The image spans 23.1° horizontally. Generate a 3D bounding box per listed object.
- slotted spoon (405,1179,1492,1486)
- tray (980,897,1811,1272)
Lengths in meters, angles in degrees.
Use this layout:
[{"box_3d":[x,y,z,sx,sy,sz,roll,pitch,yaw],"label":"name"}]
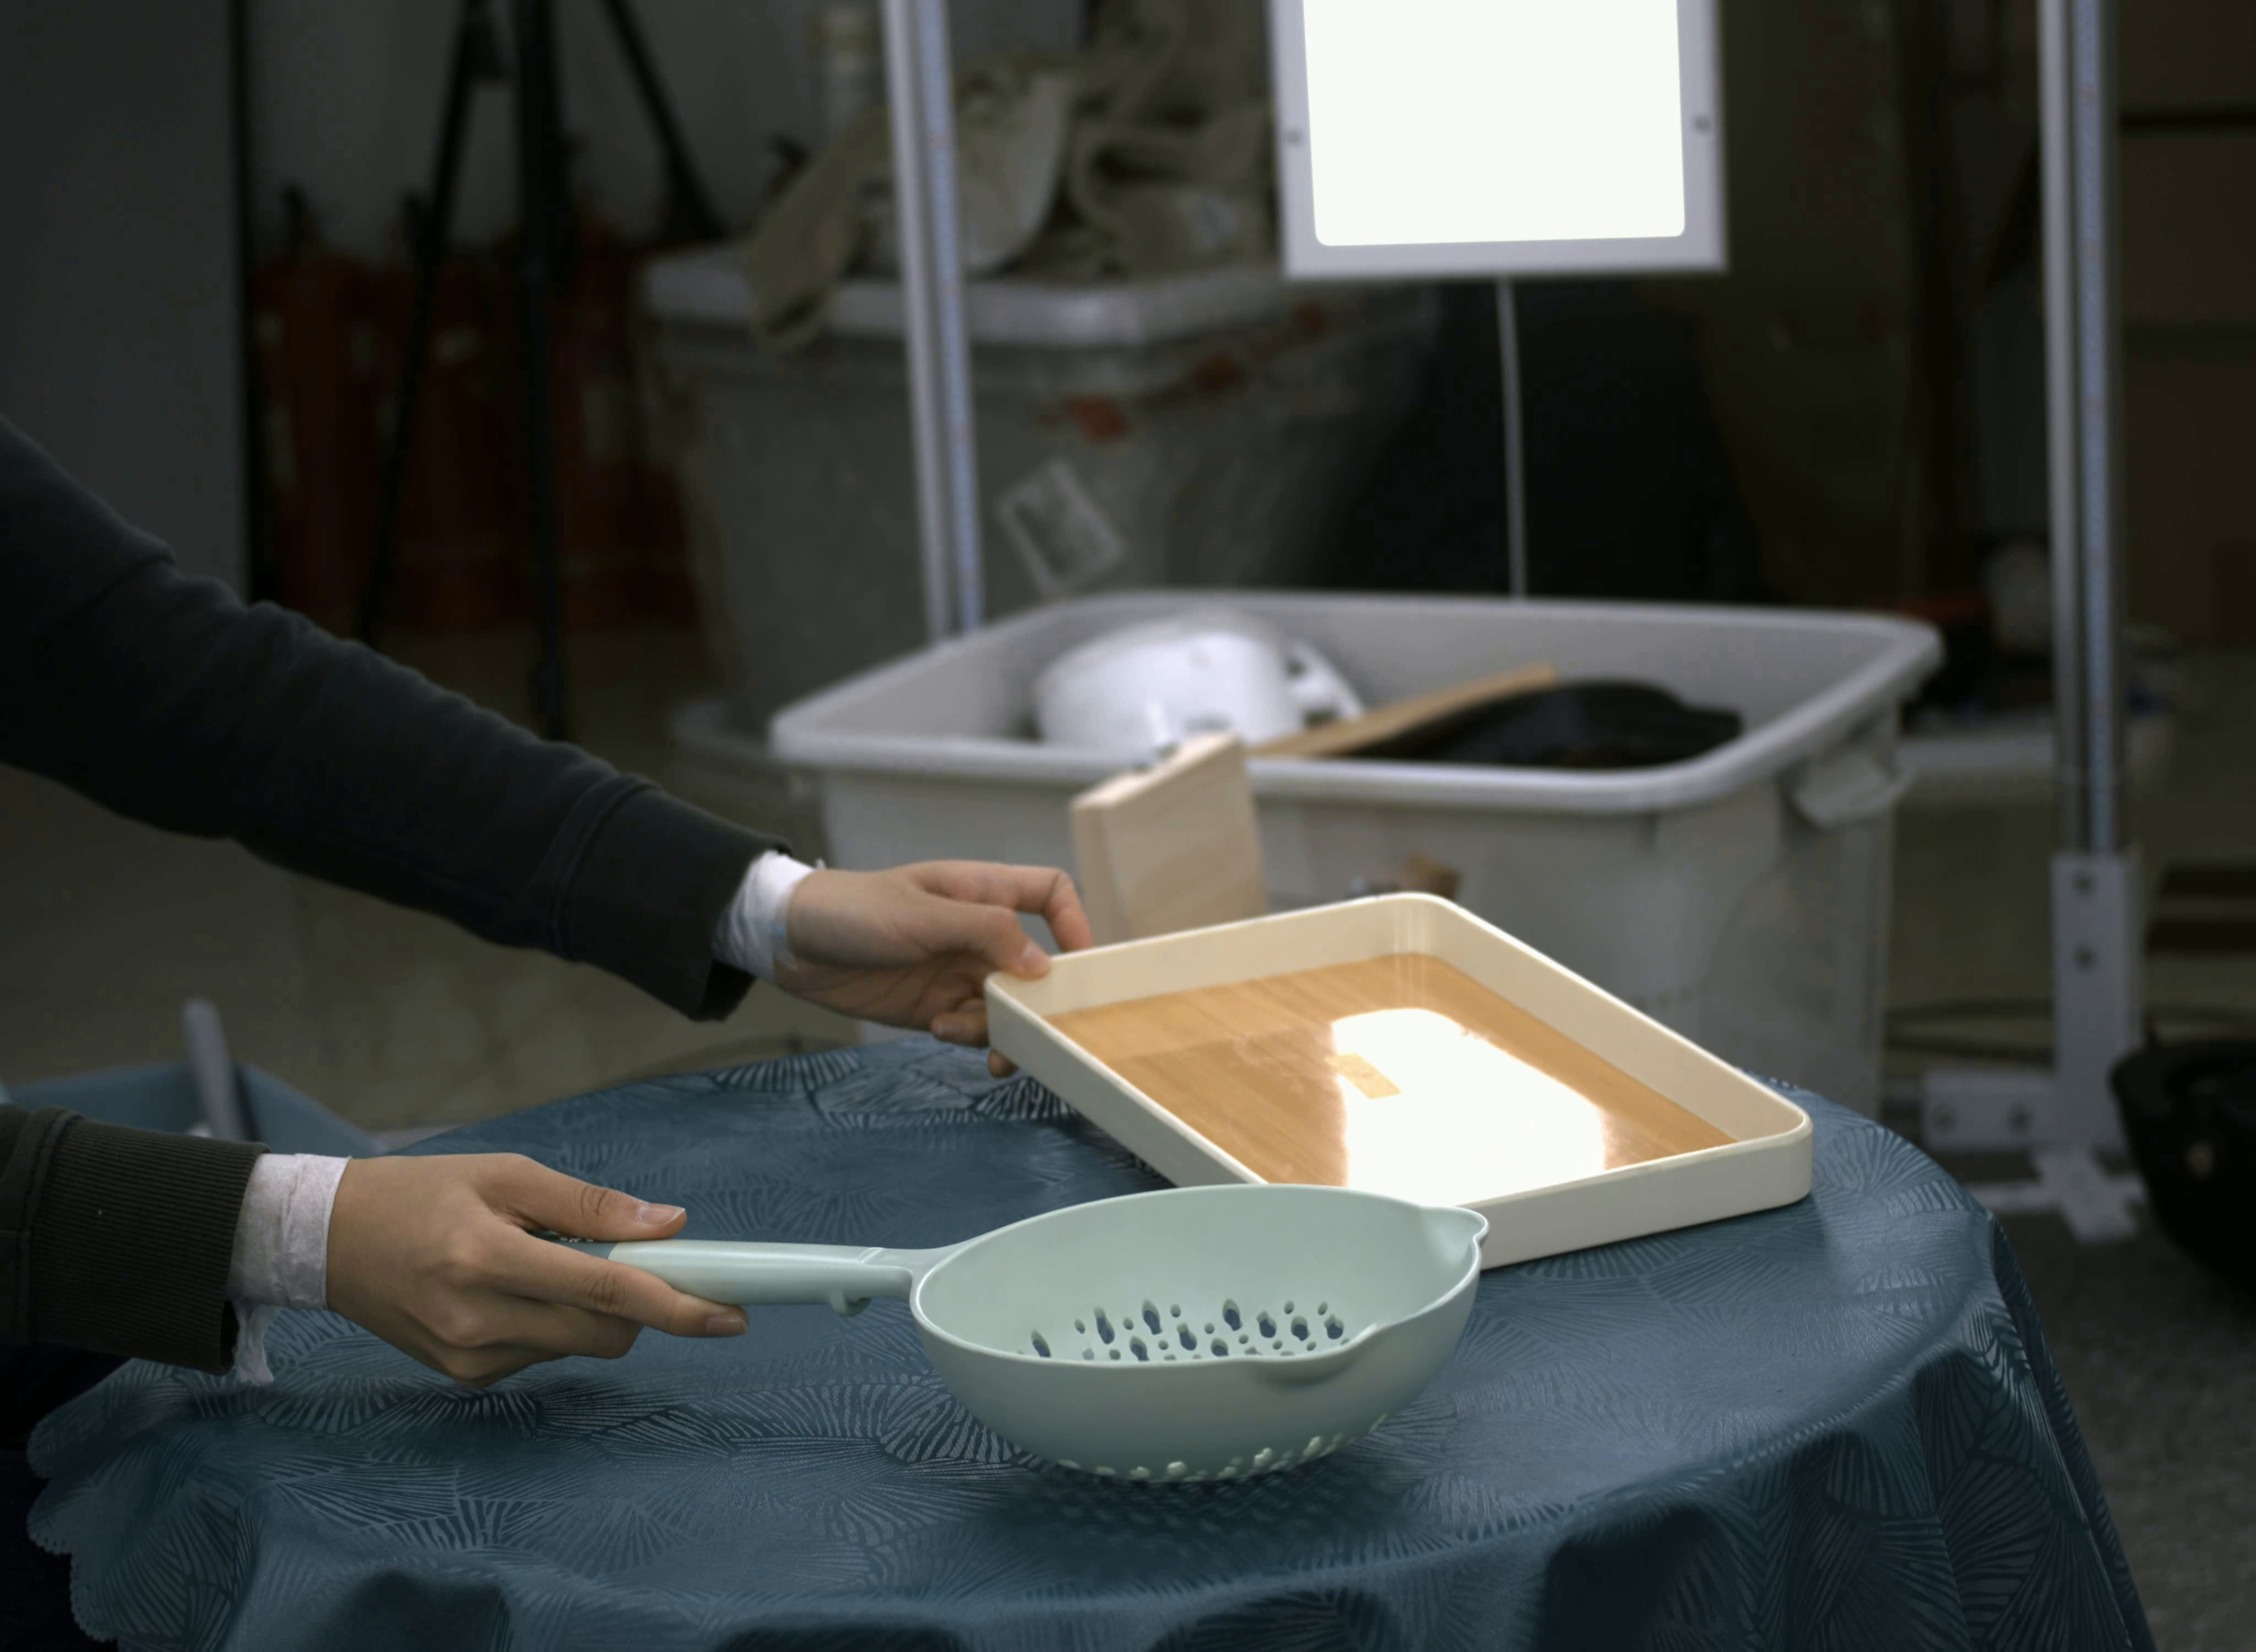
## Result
[{"box_3d":[-0.066,0.142,1.677,0.364,0.076,0.166,9,18,25],"label":"slotted spoon"},{"box_3d":[0.088,0.089,1.921,0.188,0.027,0.304,-10,18,-21],"label":"tray"}]
